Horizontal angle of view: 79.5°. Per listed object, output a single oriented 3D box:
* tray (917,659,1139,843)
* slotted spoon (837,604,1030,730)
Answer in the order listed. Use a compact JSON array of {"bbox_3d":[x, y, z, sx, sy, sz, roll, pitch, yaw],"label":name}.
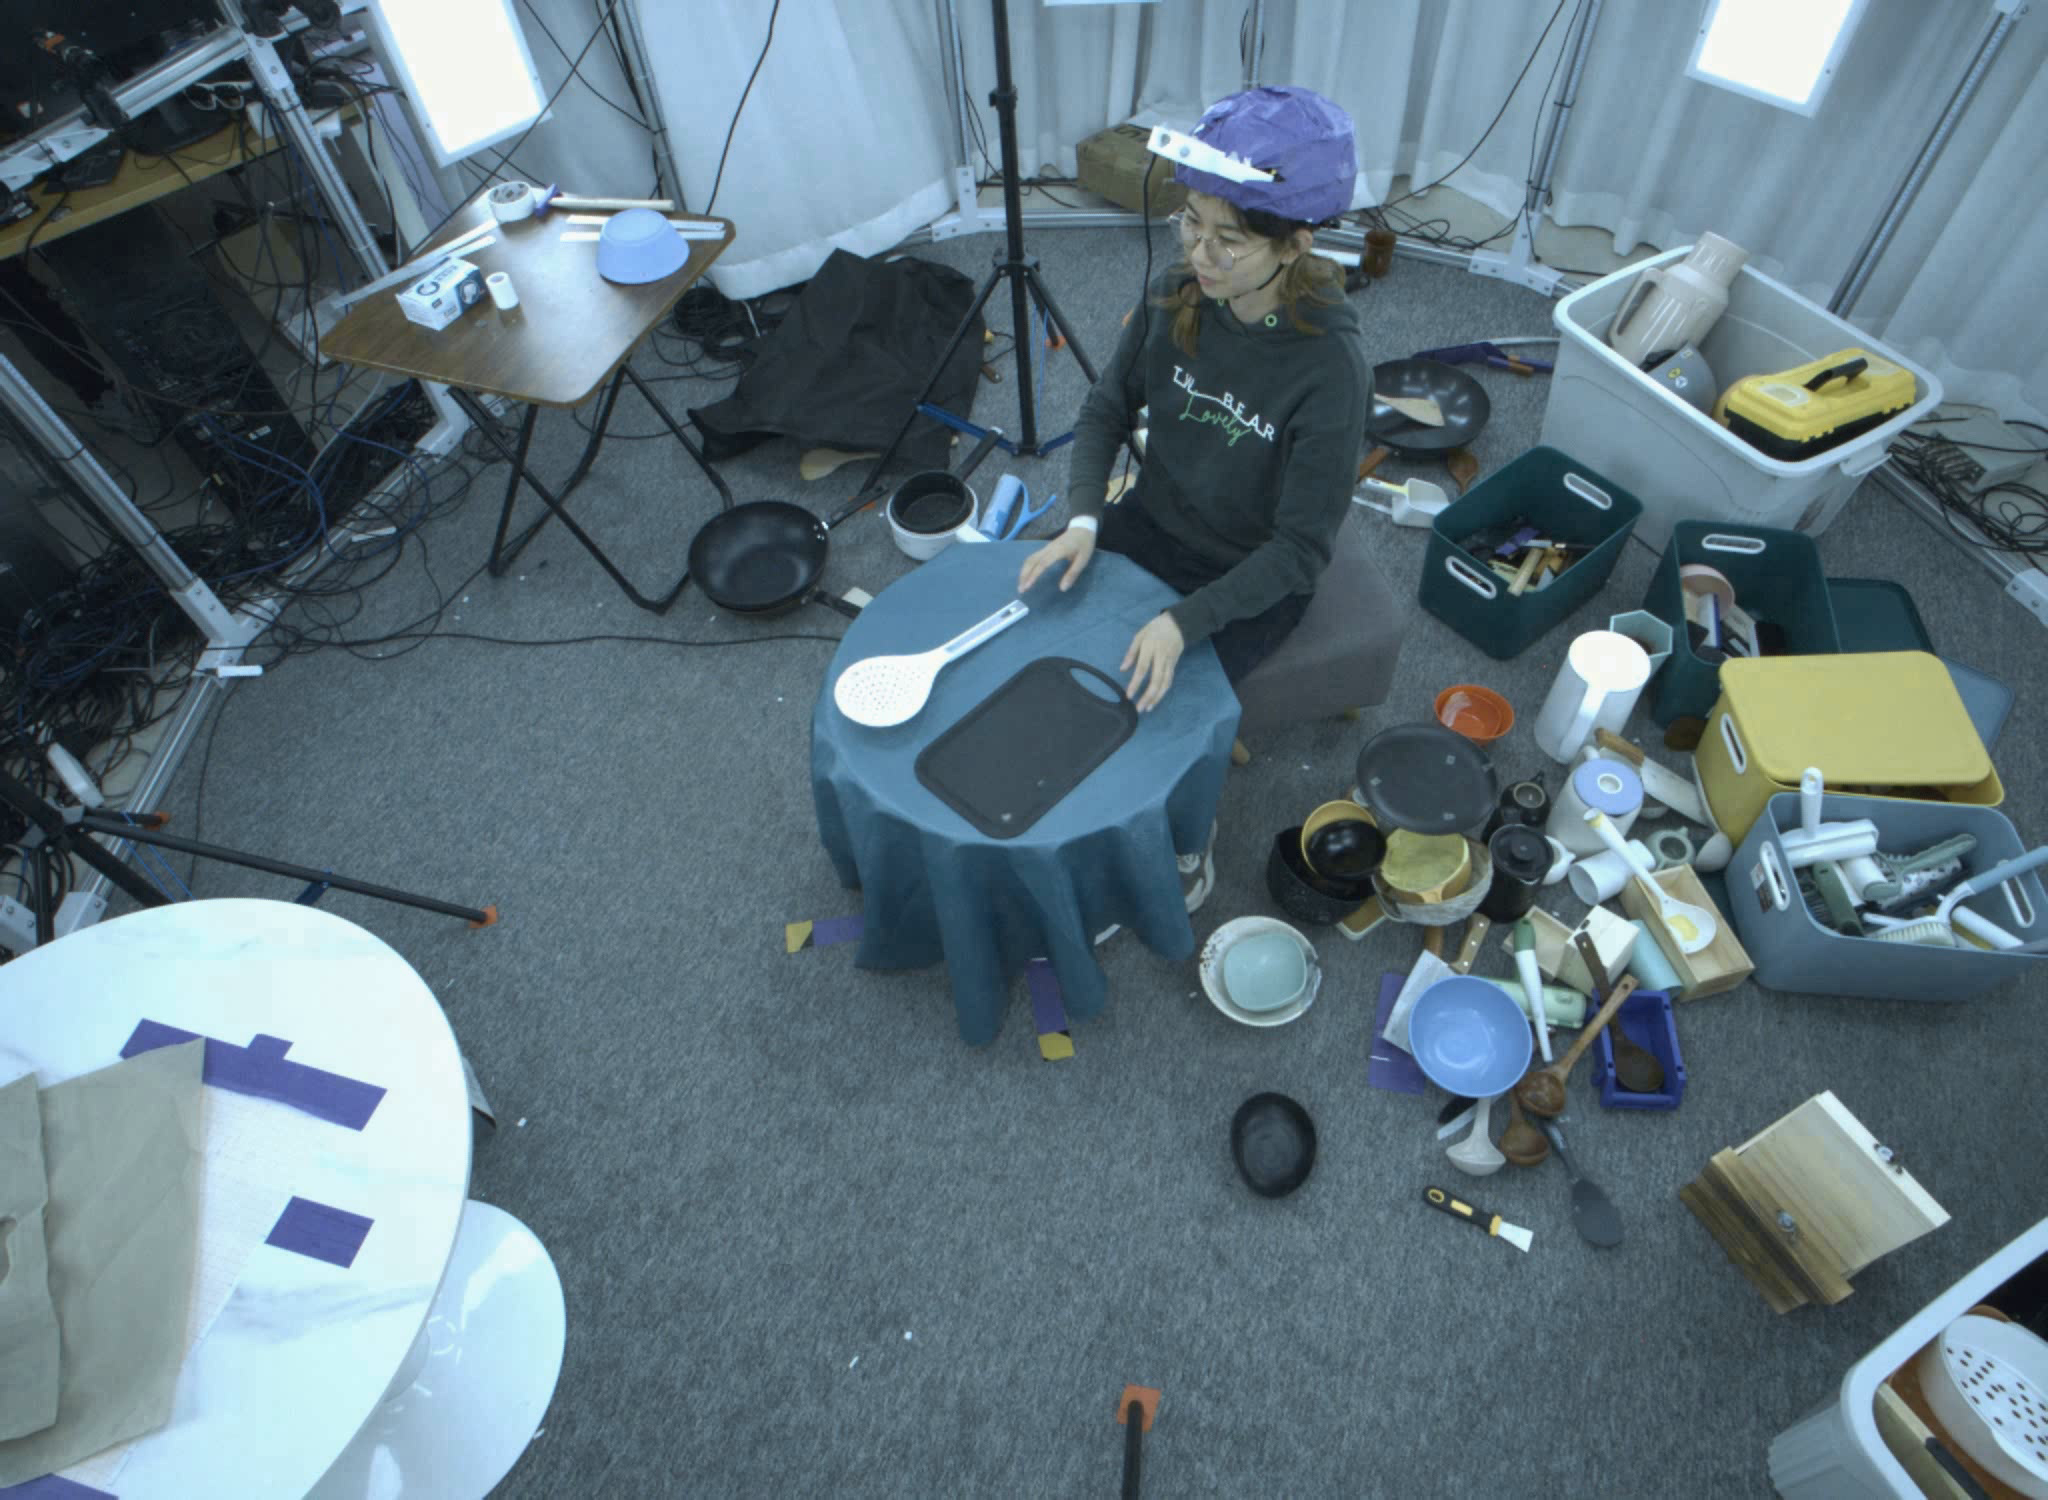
[{"bbox_3d":[0.013,-0.012,1.802,0.207,0.010,0.327,38,64,24],"label":"tray"},{"bbox_3d":[-0.129,-0.135,1.868,0.352,0.046,0.134,-37,64,-22],"label":"slotted spoon"}]
